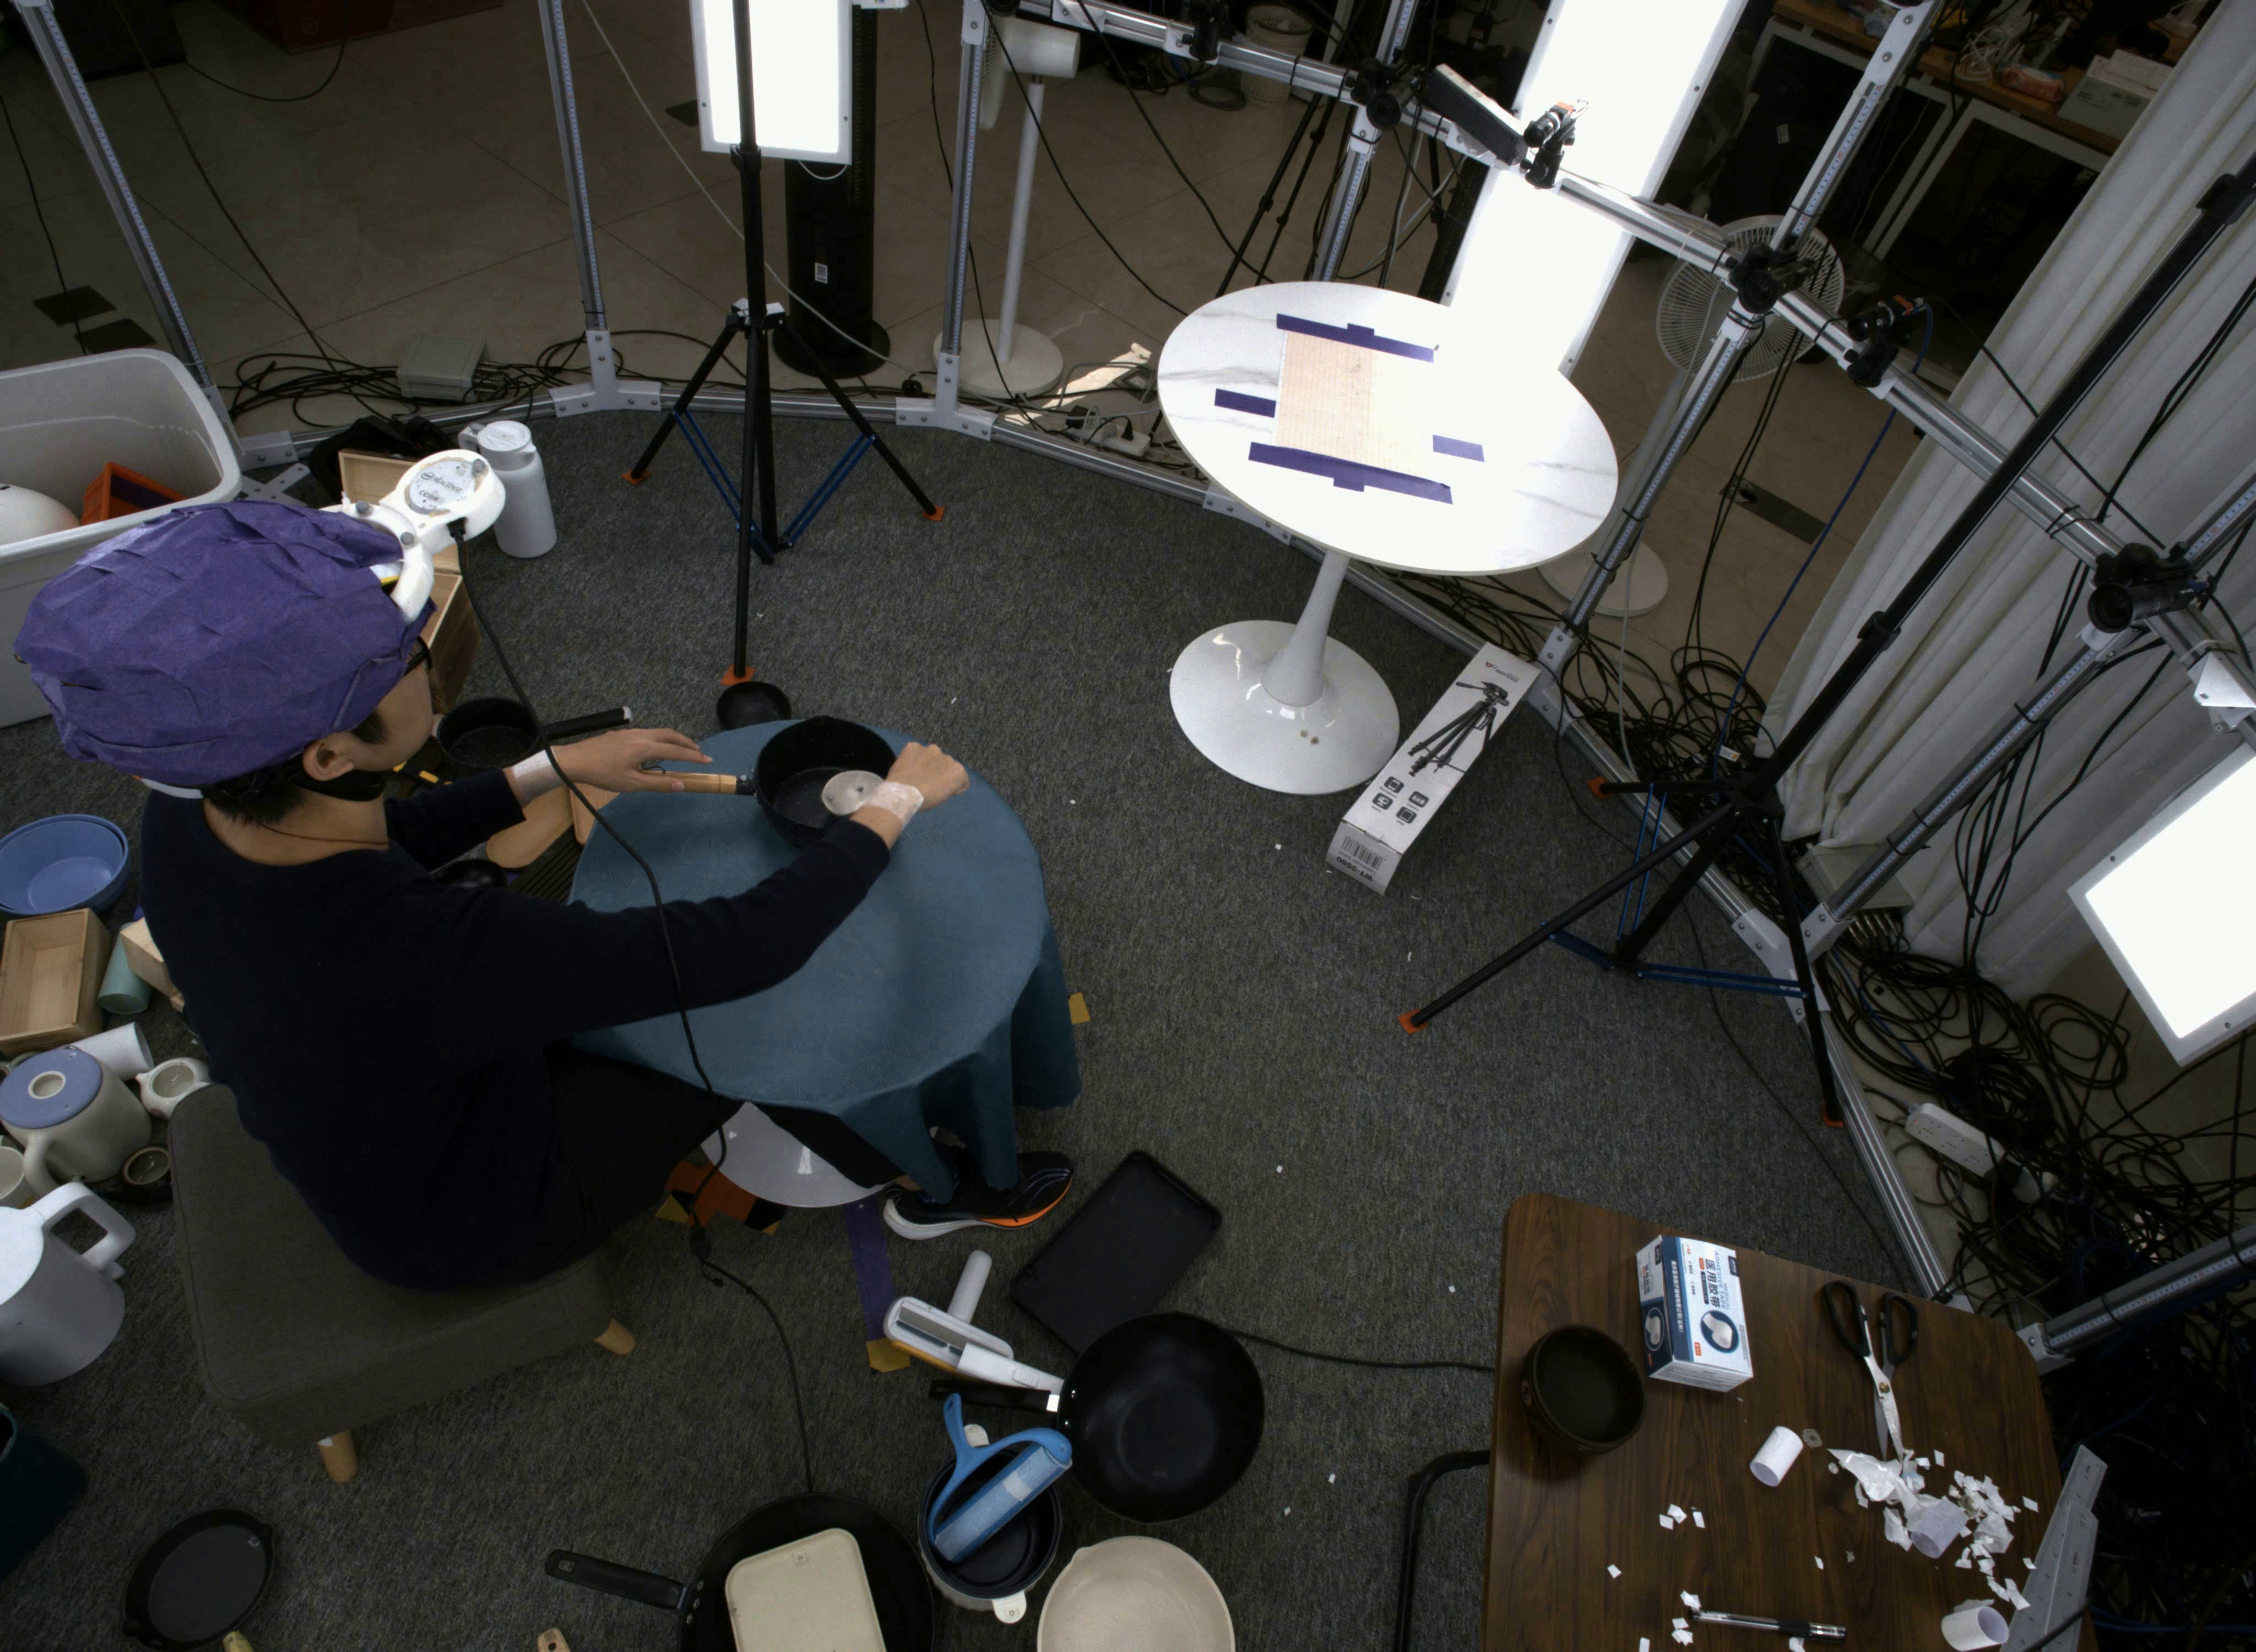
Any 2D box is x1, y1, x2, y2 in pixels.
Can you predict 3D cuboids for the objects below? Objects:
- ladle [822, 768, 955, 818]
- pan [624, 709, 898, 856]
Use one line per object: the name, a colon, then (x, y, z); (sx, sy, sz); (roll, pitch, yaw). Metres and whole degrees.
ladle: (-0.297, -0.063, 1.618); (0.090, 0.269, 0.070); (-30, 98, -36)
pan: (-0.469, -0.047, 1.667); (0.344, 0.110, 0.203); (-5, 56, -20)
